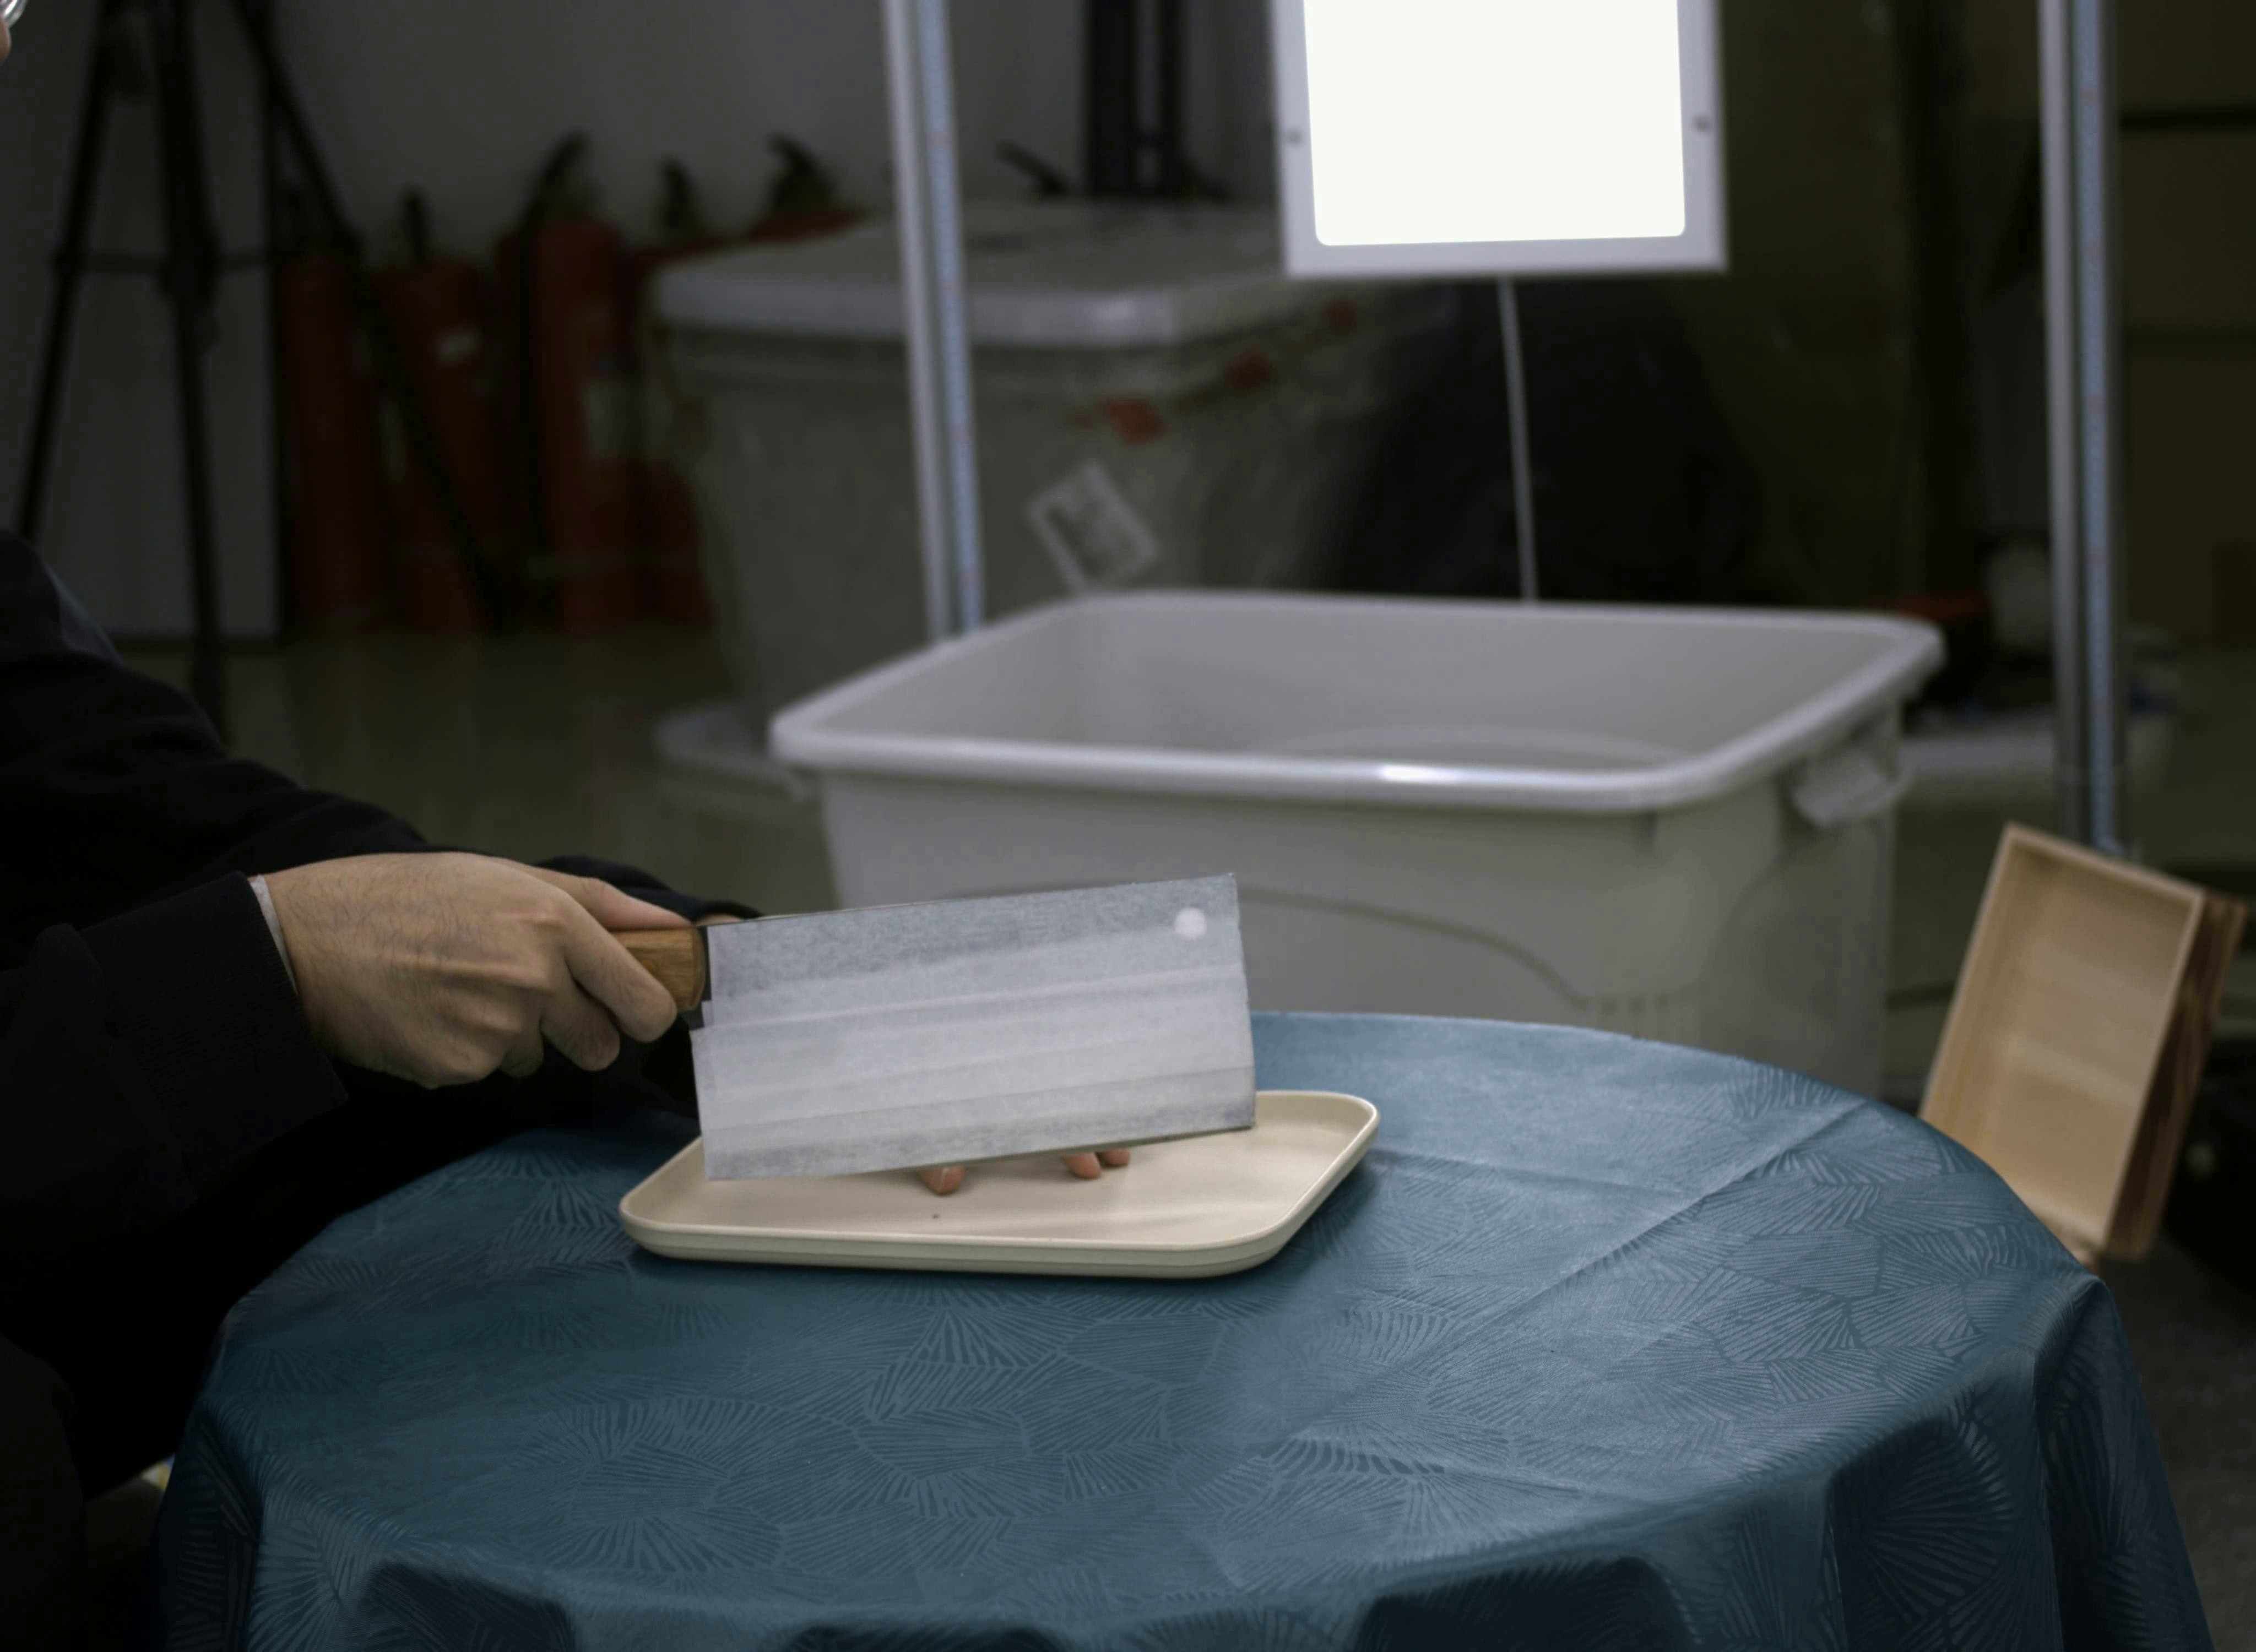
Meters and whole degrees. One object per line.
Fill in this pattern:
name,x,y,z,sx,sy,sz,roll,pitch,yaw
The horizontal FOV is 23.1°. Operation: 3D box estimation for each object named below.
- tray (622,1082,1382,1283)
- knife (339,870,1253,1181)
tray,-0.042,0.121,1.895,0.243,0.017,0.168,1,16,21
knife,-0.111,0.072,1.856,0.306,0.093,0.021,-6,11,5
